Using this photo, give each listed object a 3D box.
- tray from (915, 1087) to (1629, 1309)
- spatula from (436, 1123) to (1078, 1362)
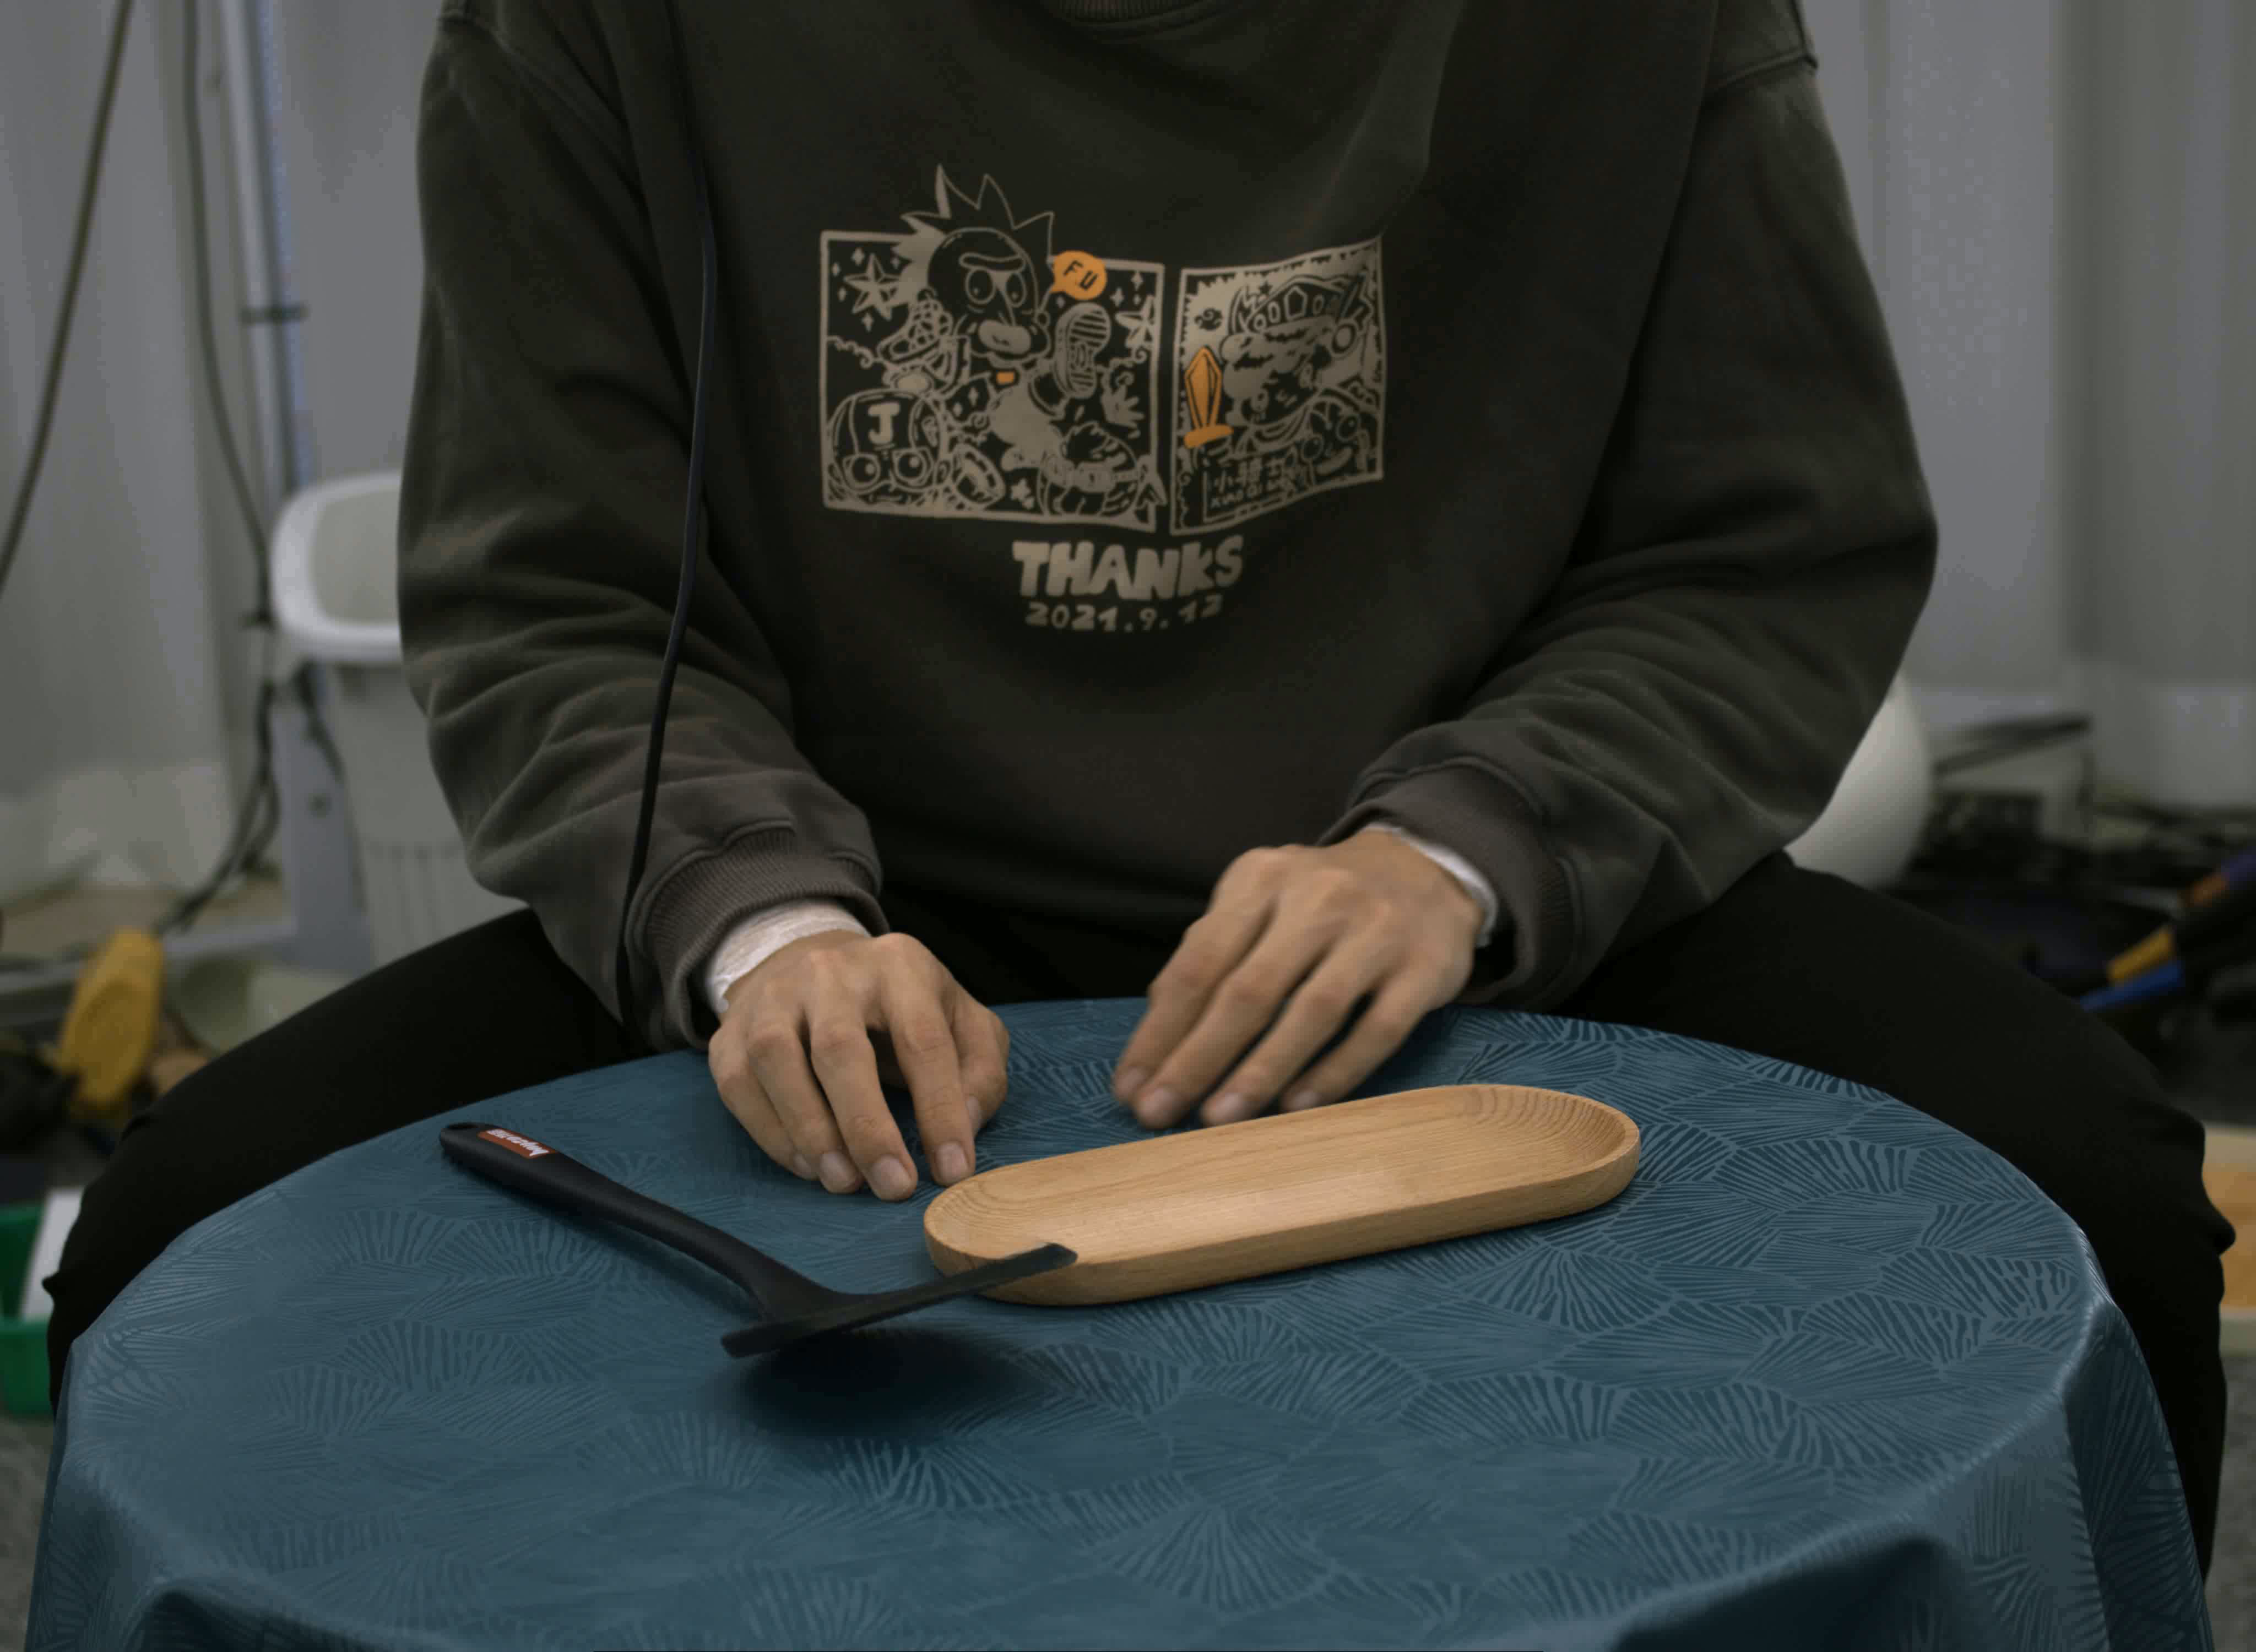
[{"bbox_3d":[0.046,0.114,1.684,0.230,0.020,0.102,-10,16,-21],"label":"tray"},{"bbox_3d":[-0.136,0.119,1.664,0.099,0.040,0.328,-11,17,-31],"label":"spatula"}]
